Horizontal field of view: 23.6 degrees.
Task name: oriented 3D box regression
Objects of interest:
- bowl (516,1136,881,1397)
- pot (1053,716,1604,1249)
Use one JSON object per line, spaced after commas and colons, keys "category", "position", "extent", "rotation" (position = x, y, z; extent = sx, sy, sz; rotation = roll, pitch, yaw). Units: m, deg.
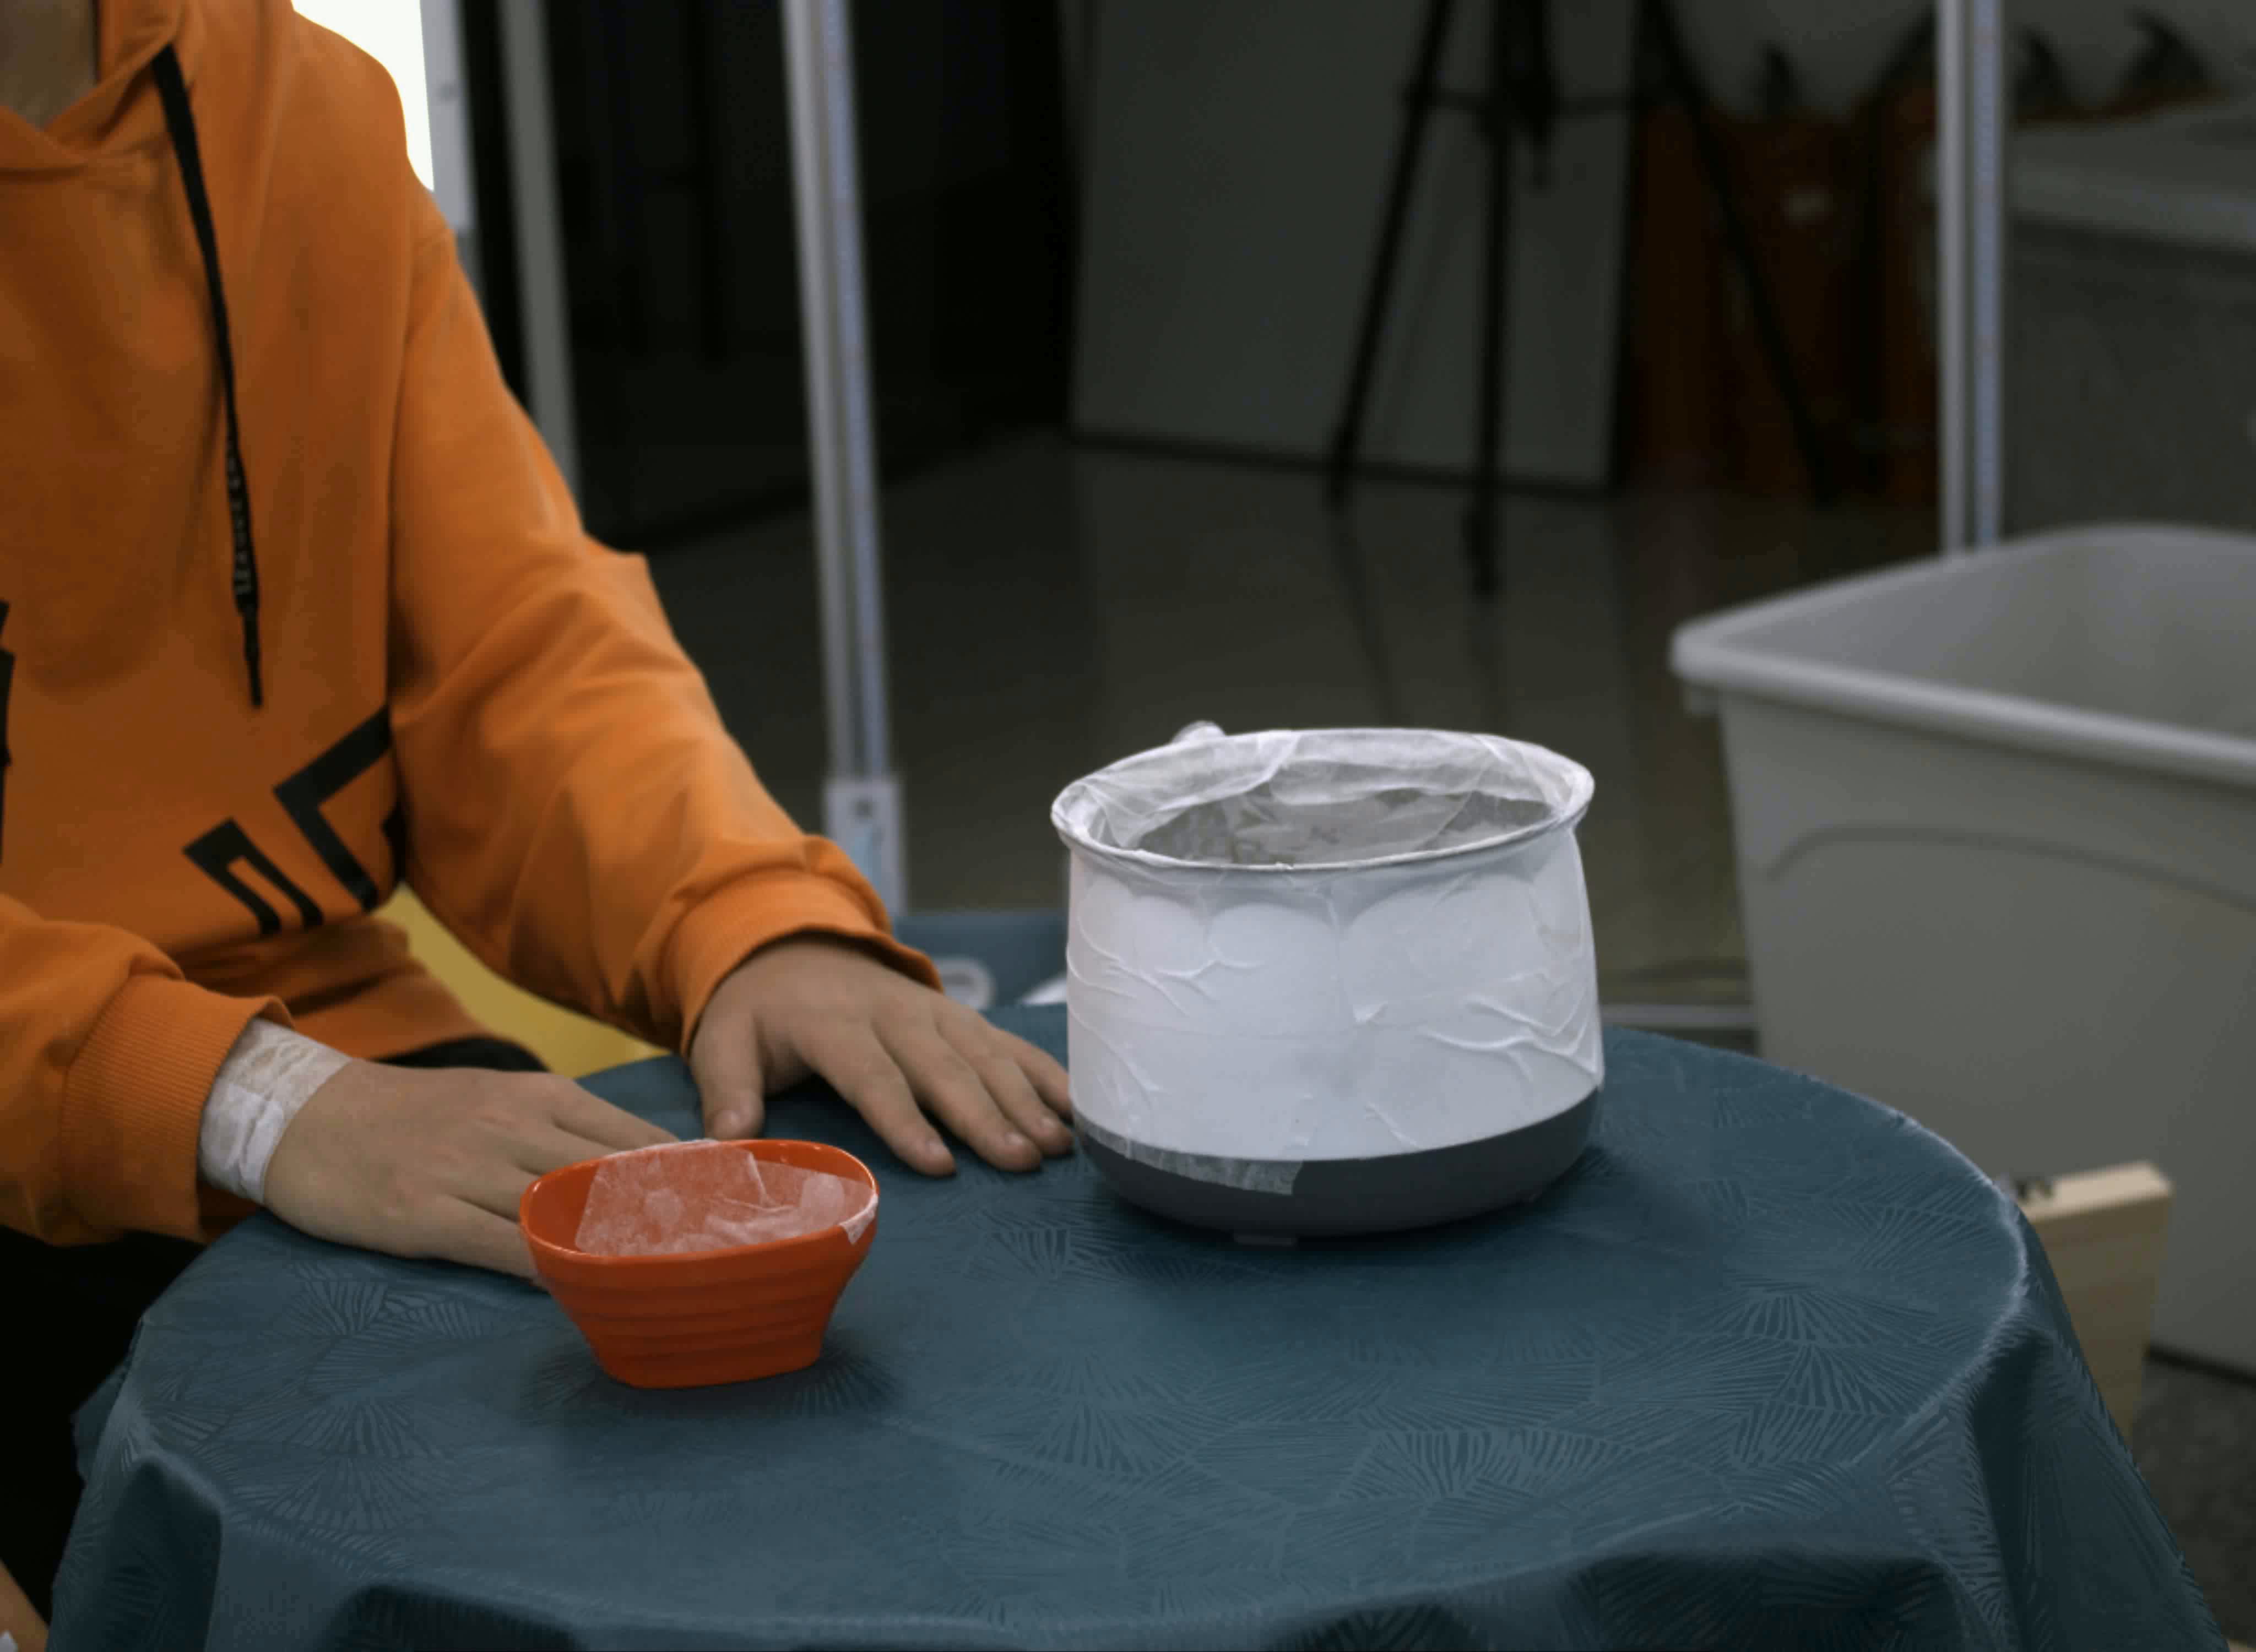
{"category": "bowl", "position": [-0.128, 0.136, 1.642], "extent": [0.117, 0.052, 0.119], "rotation": [-5, 15, 0]}
{"category": "pot", "position": [0.055, 0.045, 1.776], "extent": [0.175, 0.138, 0.236], "rotation": [-9, 15, -22]}
